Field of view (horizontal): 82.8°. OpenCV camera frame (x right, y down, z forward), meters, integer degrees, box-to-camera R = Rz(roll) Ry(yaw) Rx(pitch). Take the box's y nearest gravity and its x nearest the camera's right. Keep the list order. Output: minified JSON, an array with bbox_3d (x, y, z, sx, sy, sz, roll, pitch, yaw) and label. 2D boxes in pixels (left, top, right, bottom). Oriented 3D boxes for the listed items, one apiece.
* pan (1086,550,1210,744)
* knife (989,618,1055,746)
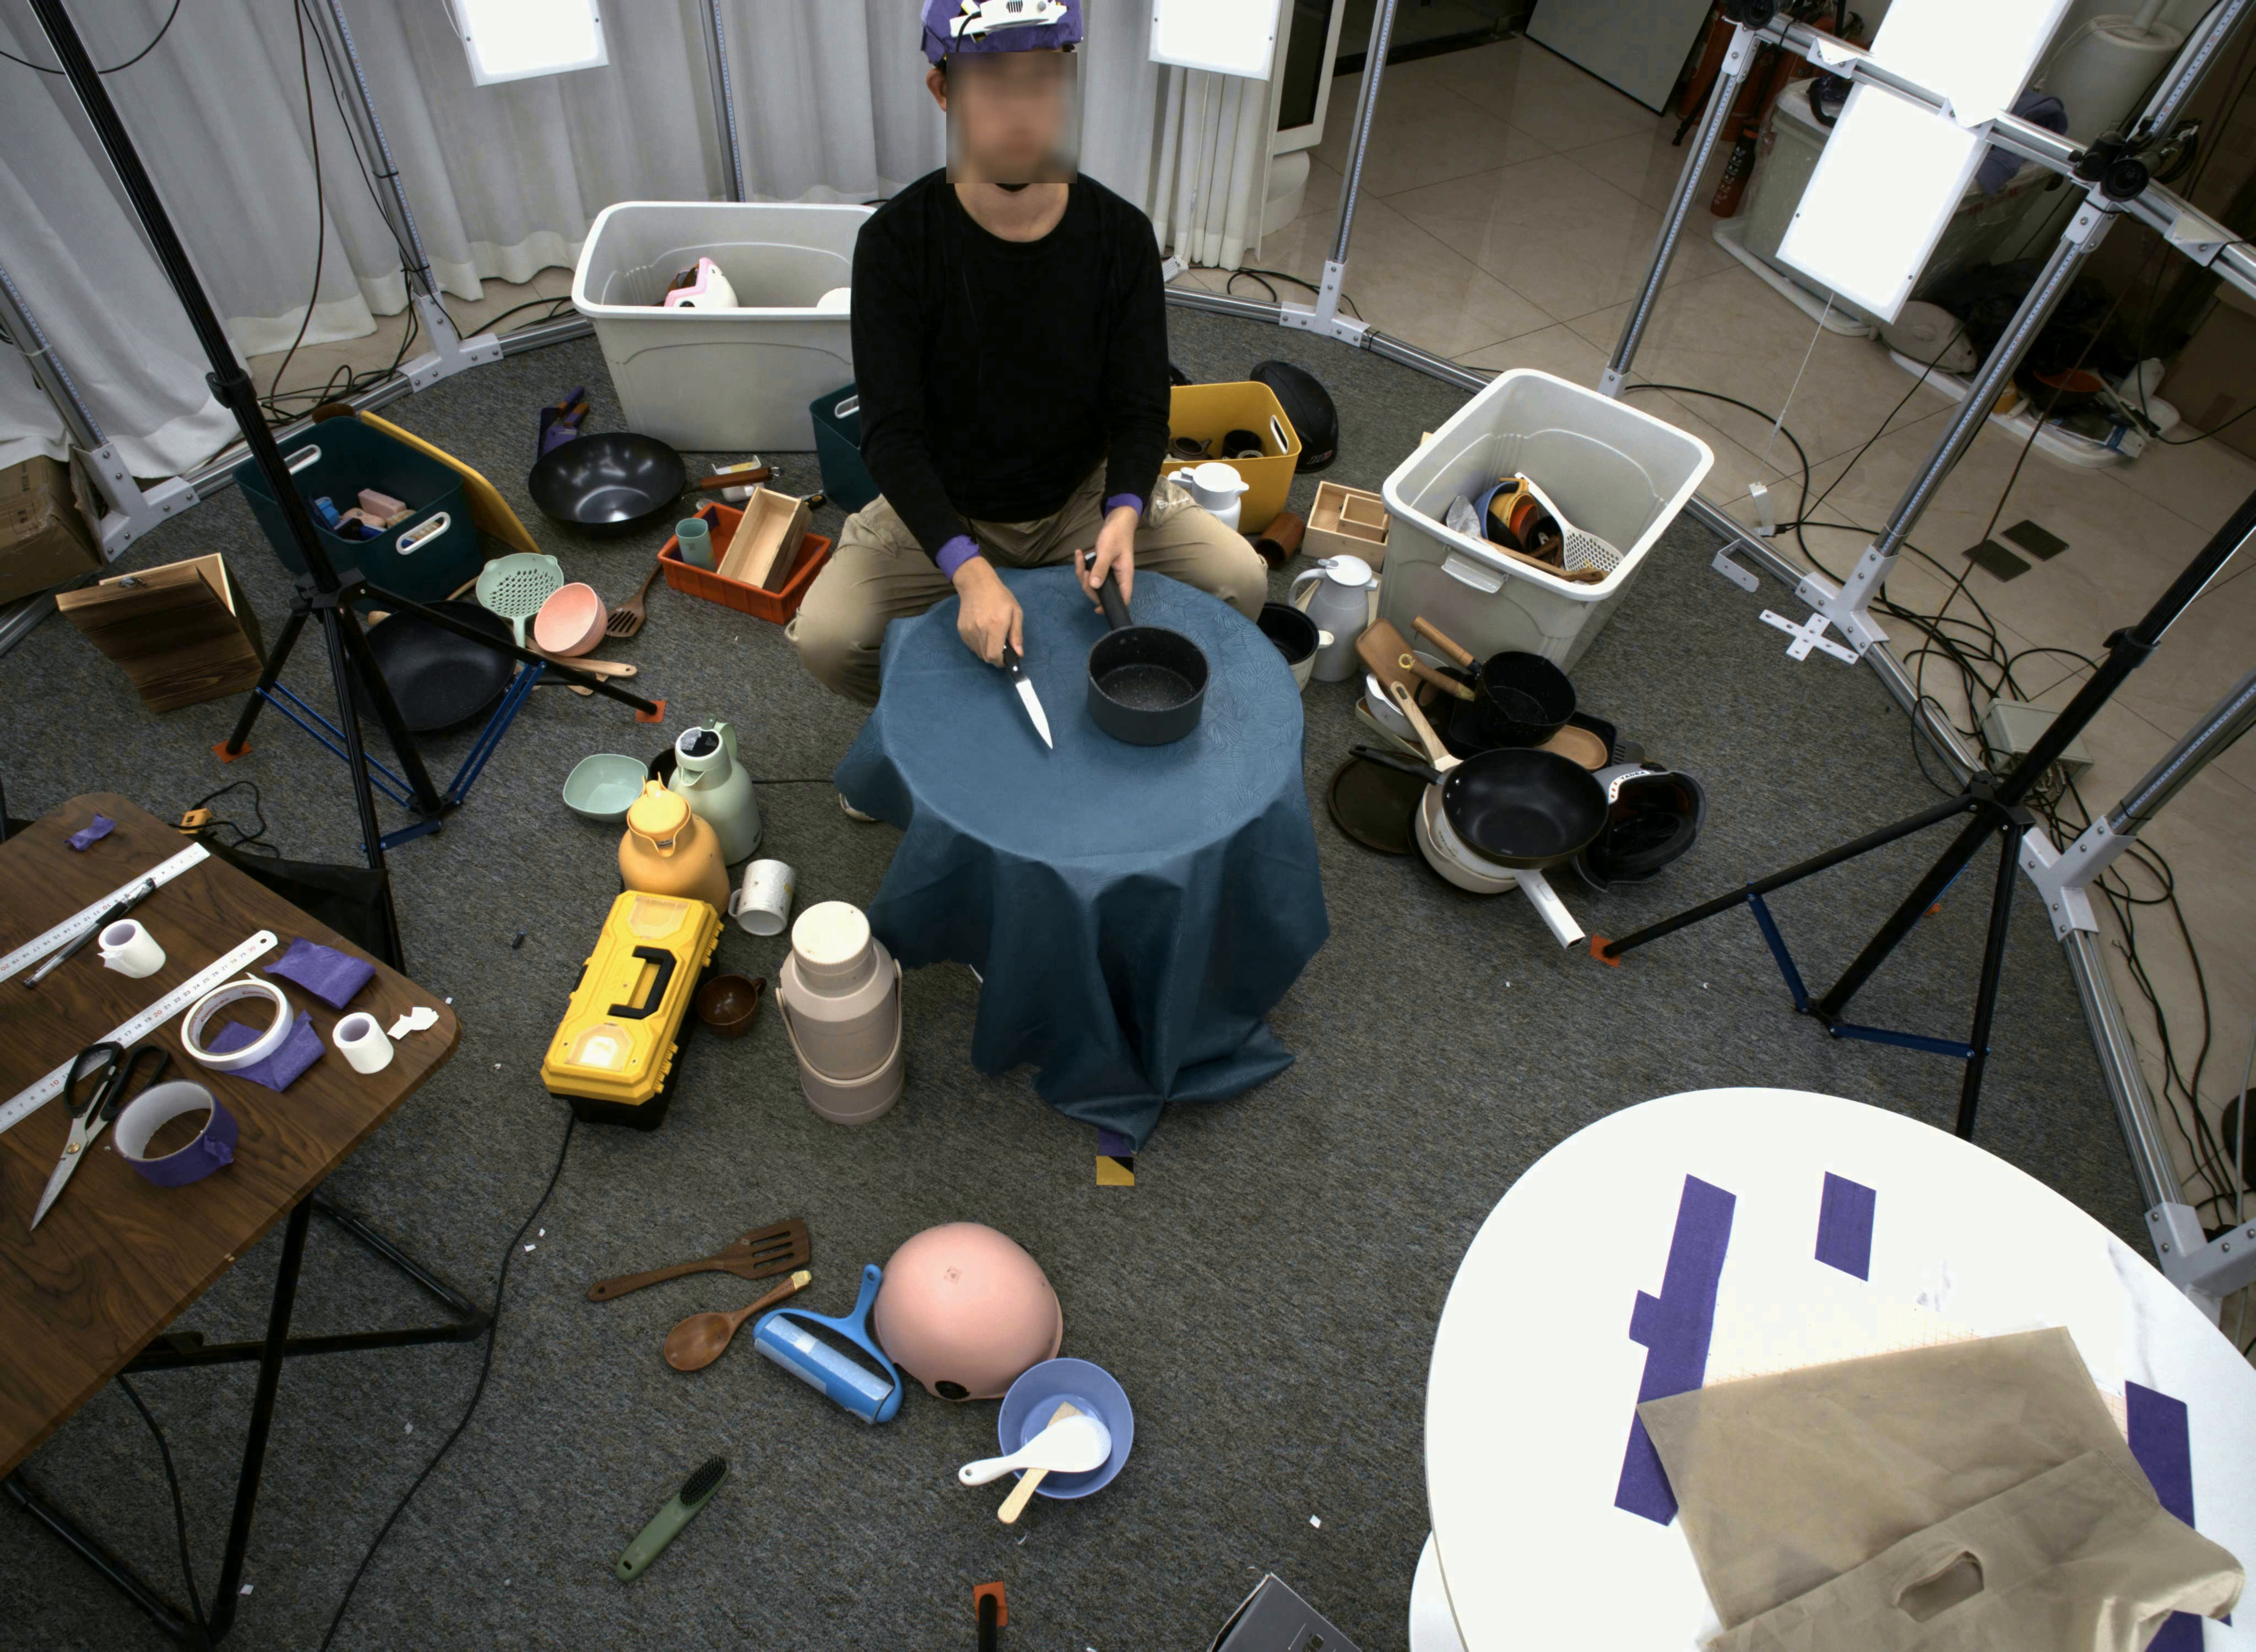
[{"bbox_3d":[0.005,-0.258,1.838,0.172,0.084,0.337,-9,52,-12],"label":"pan"},{"bbox_3d":[-0.149,-0.201,1.791,0.024,0.016,0.243,-14,57,-20],"label":"knife"}]
